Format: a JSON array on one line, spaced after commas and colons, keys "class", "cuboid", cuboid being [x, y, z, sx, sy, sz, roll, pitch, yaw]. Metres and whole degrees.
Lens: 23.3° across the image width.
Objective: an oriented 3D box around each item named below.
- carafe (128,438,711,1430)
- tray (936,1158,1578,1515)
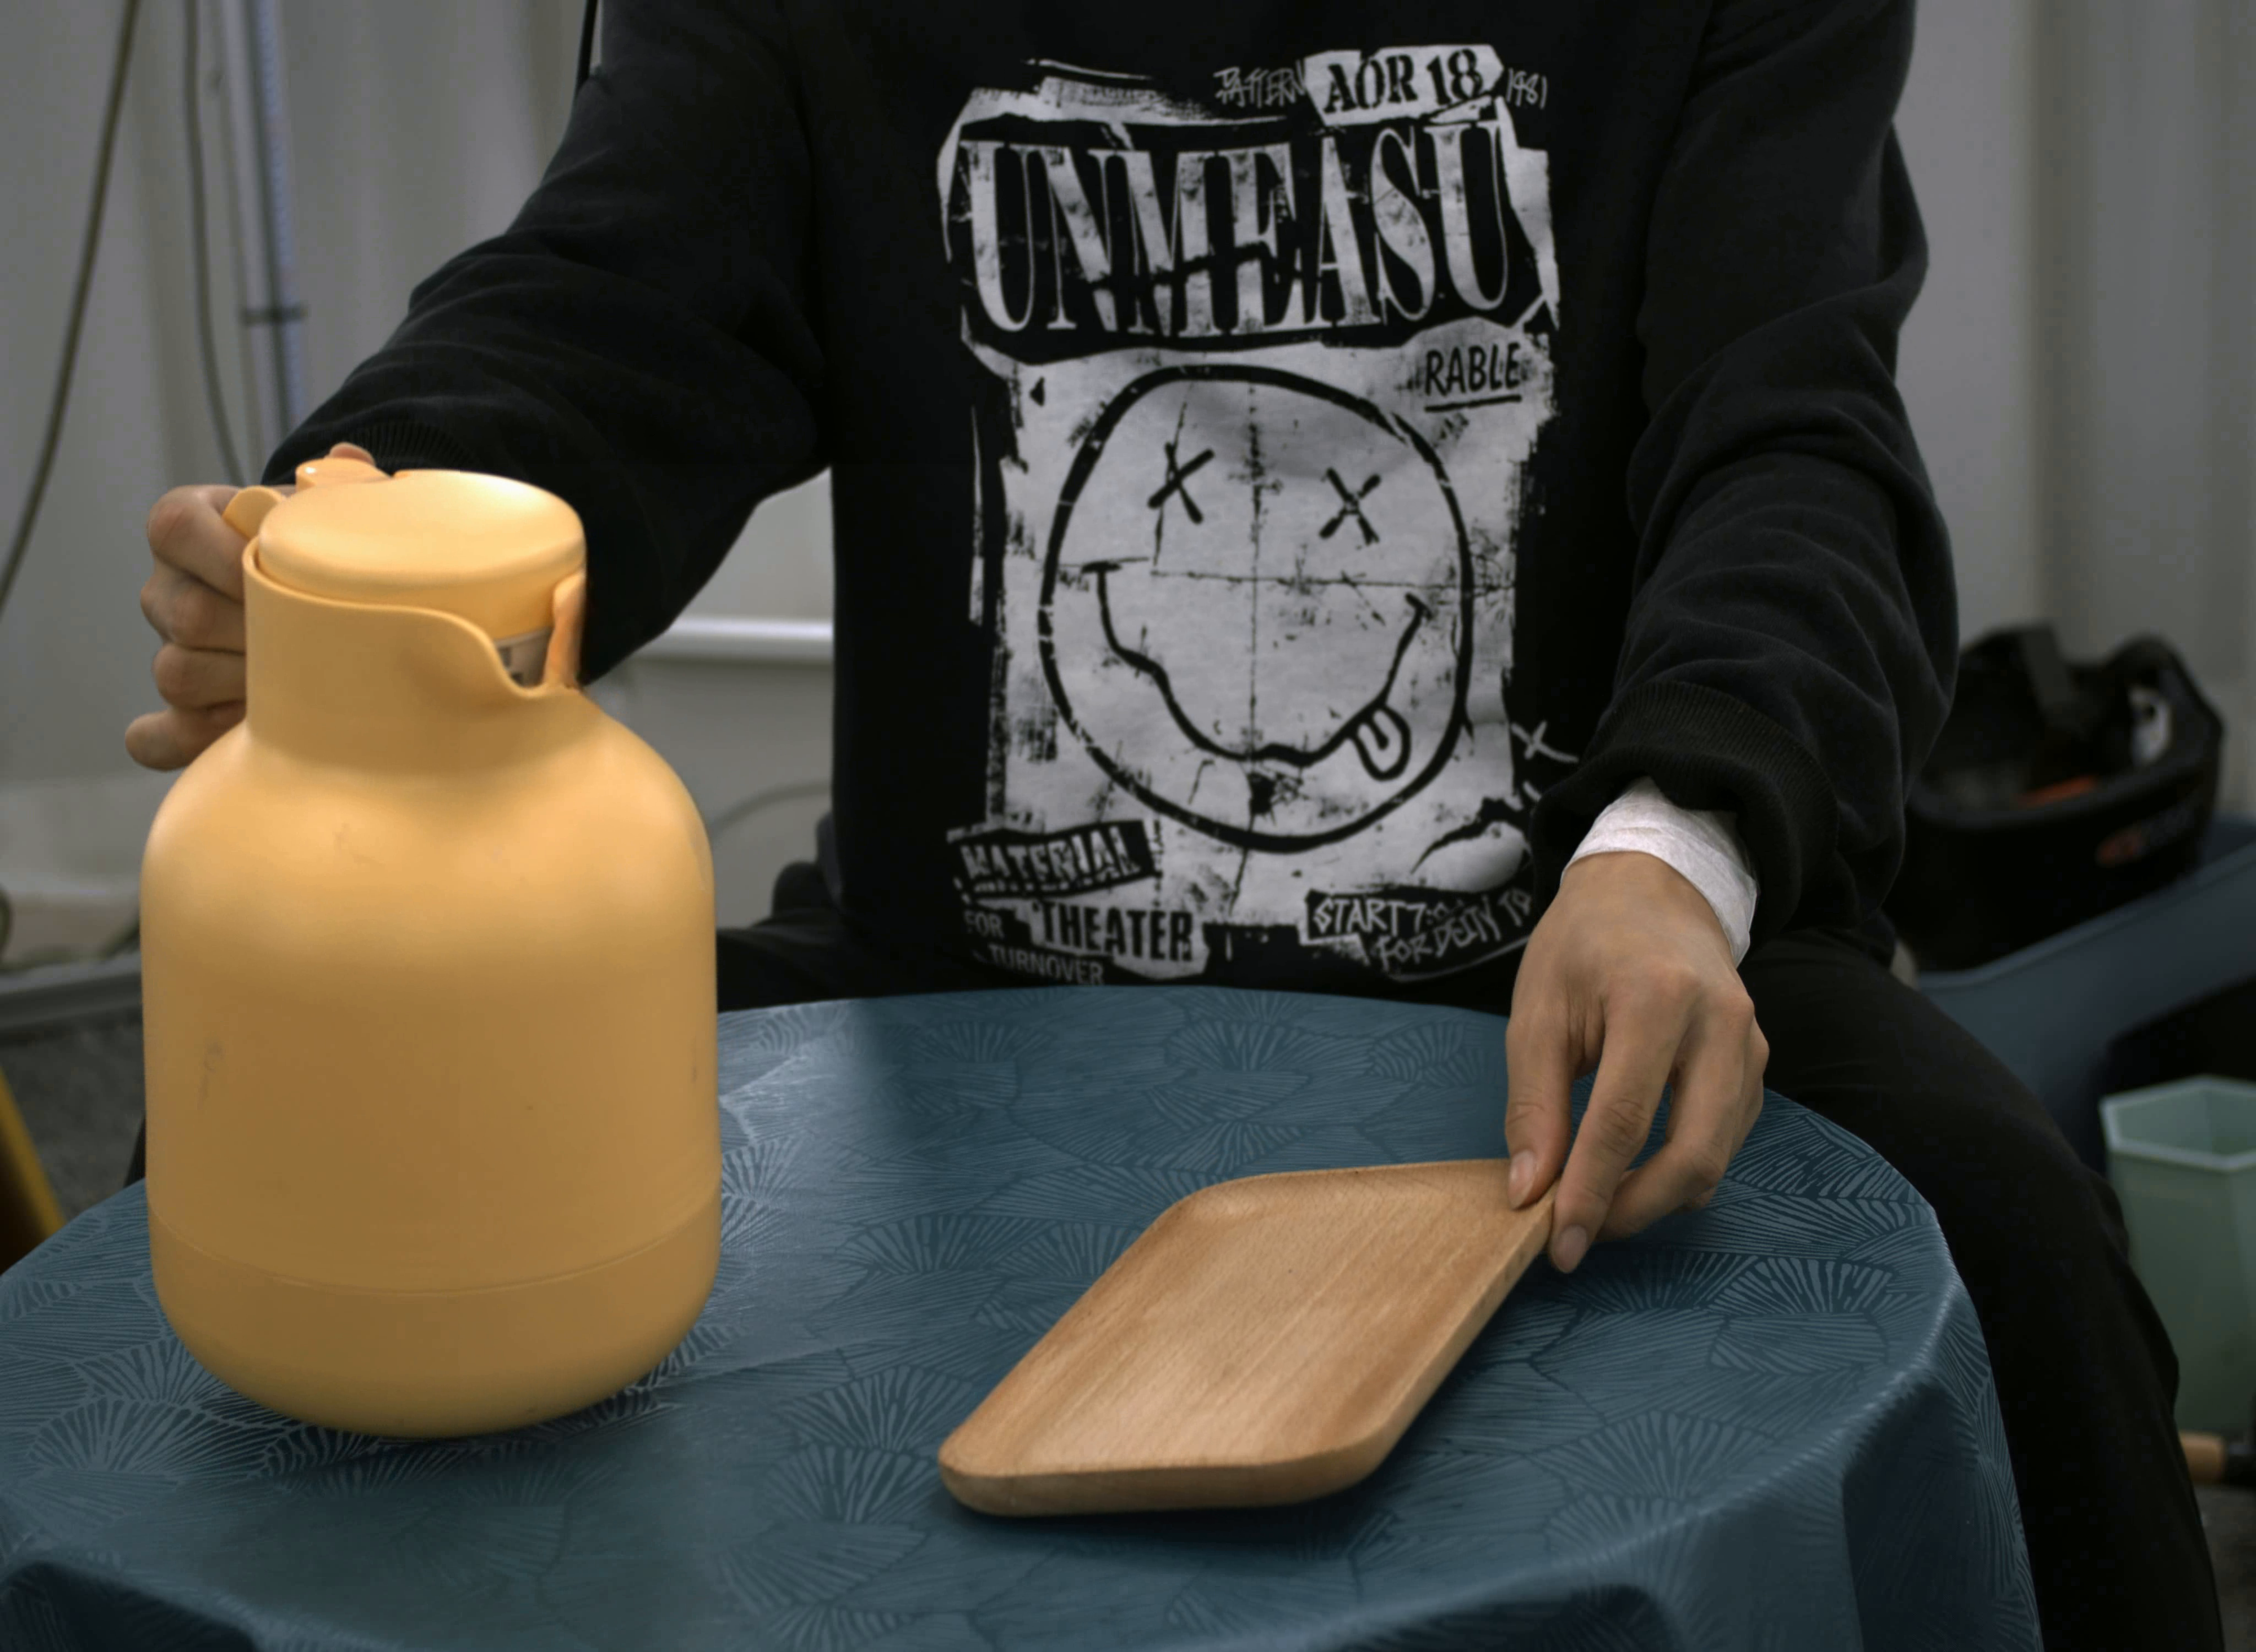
[{"class": "carafe", "cuboid": [-0.206, 0.021, 1.551, 0.162, 0.259, 0.204, -7, 23, -29]}, {"class": "tray", "cuboid": [0.041, 0.142, 1.543, 0.130, 0.023, 0.251, -3, 13, 21]}]
